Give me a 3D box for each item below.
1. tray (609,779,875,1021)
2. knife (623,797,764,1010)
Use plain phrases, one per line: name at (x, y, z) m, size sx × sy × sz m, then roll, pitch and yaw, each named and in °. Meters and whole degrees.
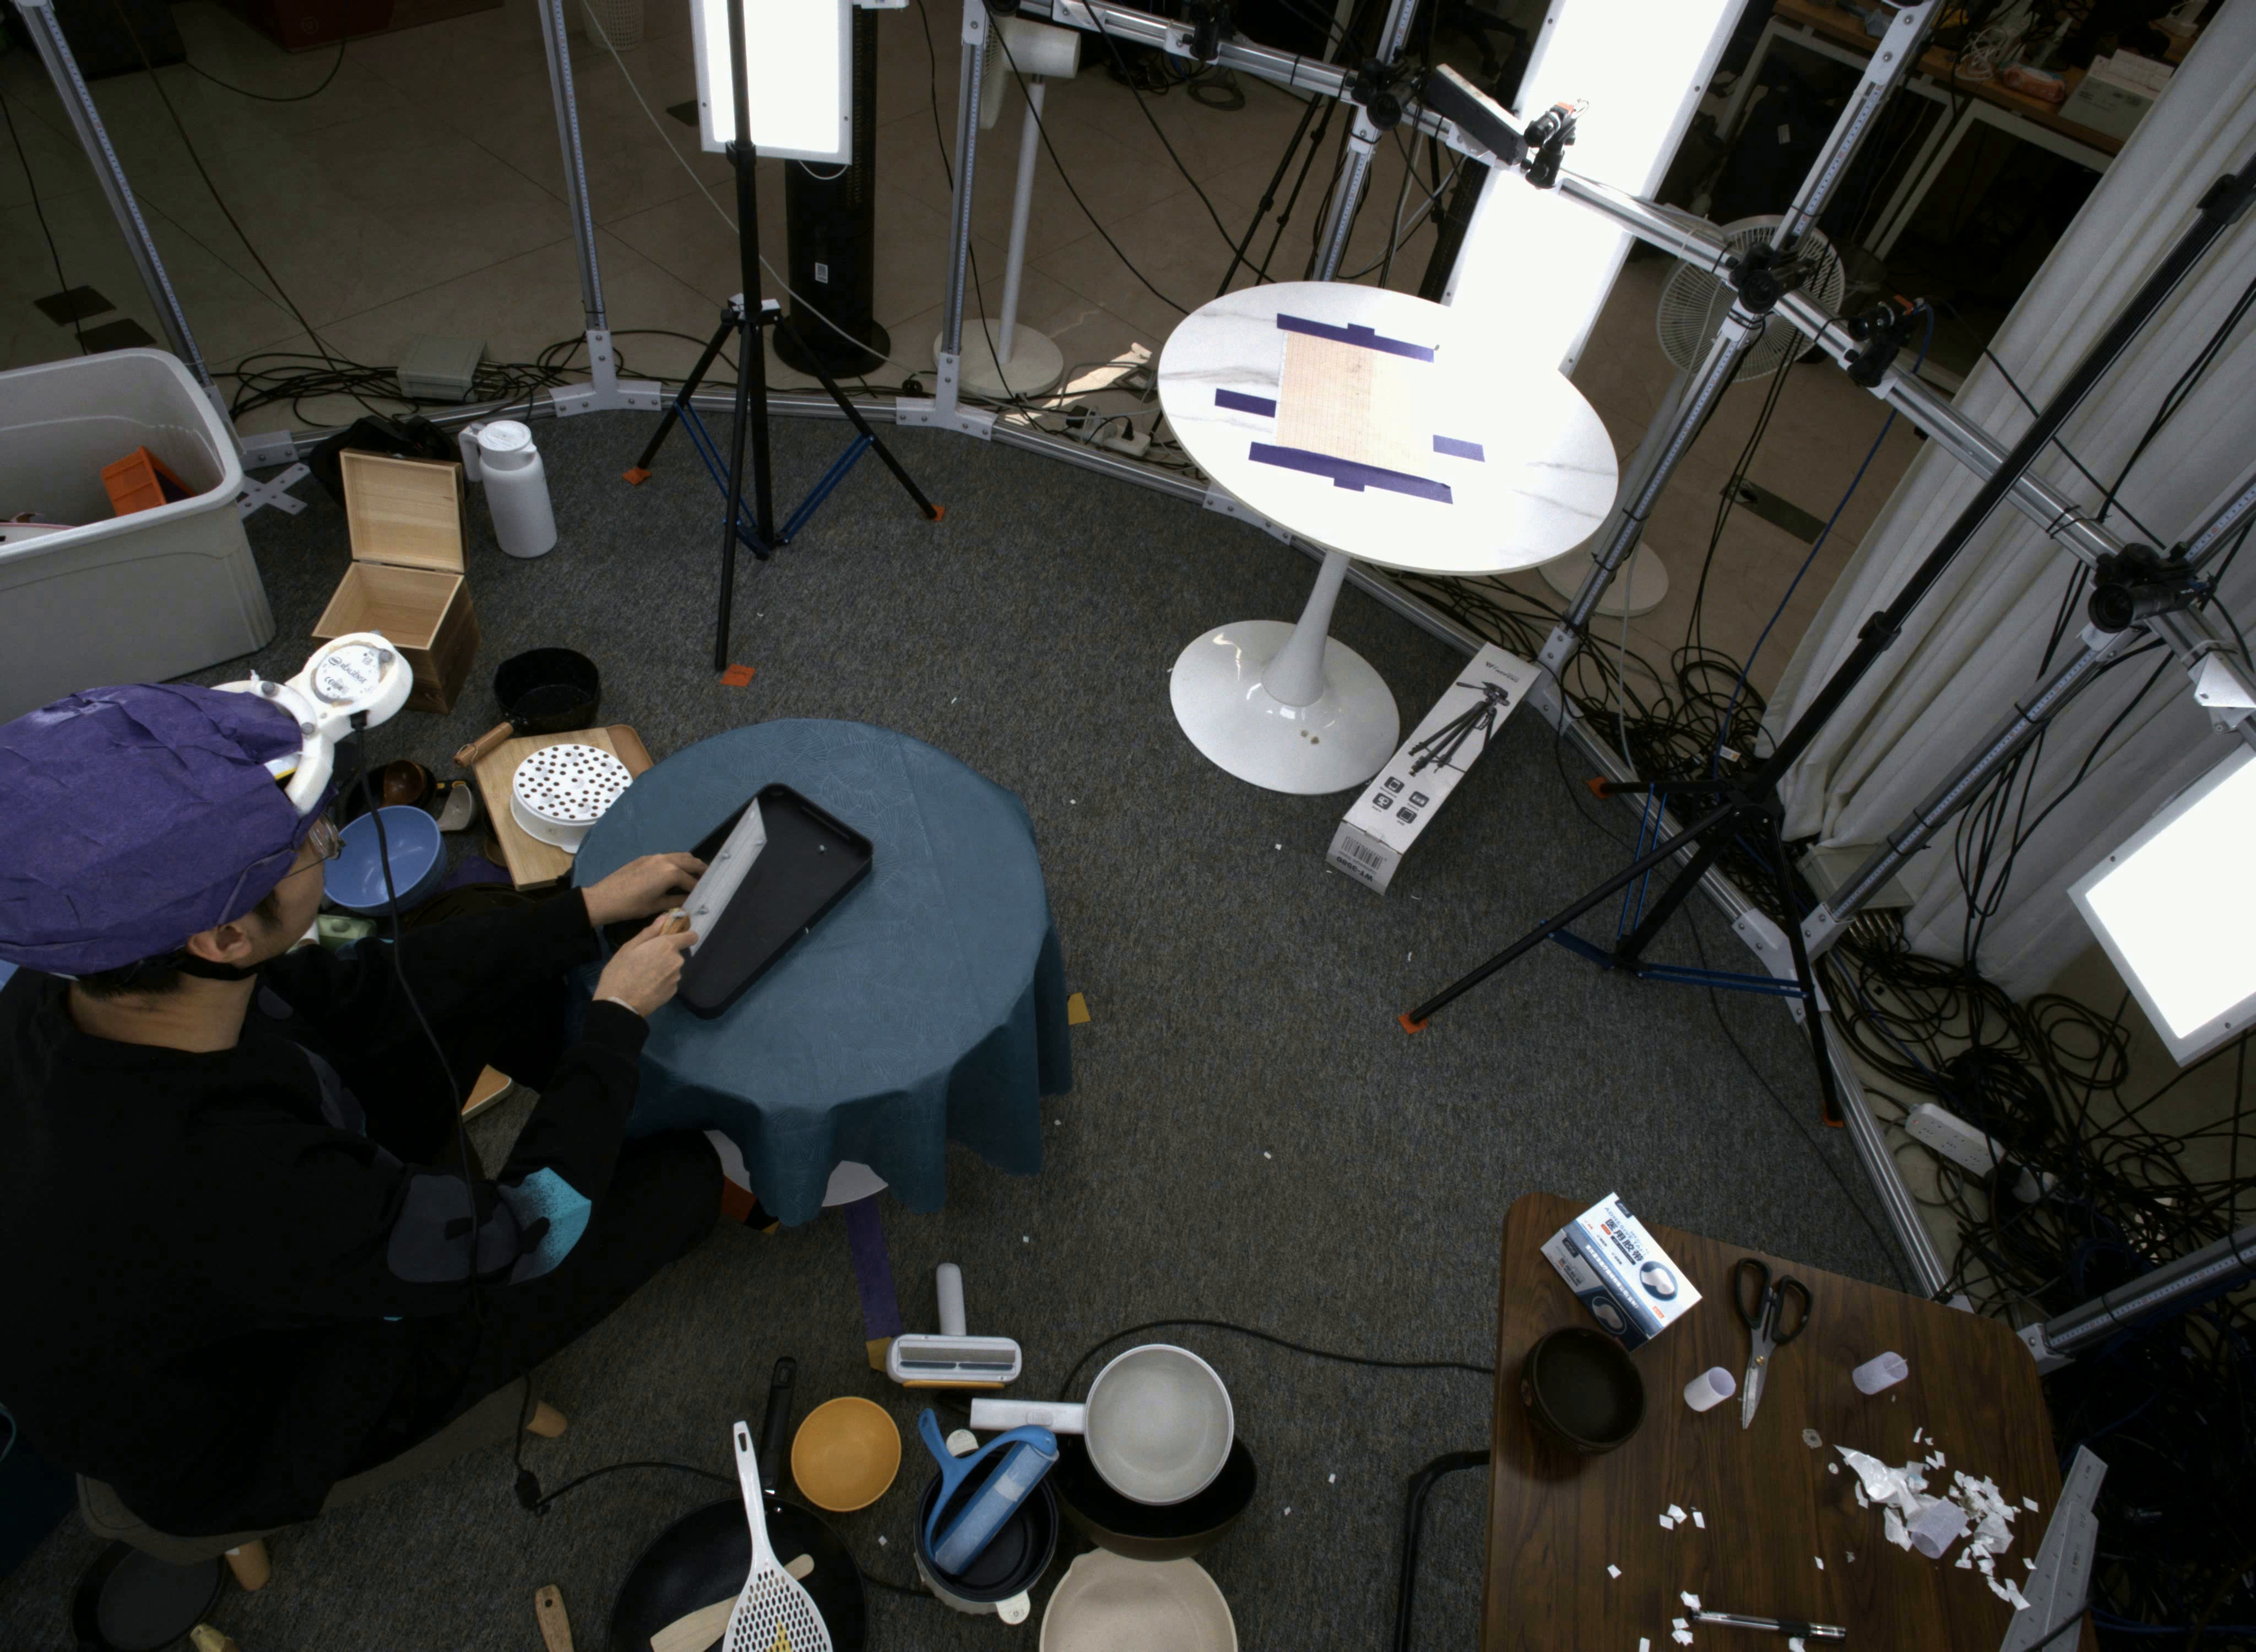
tray at (-0.477, 0.083, 1.614) m, size 0.181 × 0.038 × 0.317 m, roll 31°, pitch 53°, yaw 9°
knife at (-0.504, 0.097, 1.517) m, size 0.020 × 0.095 × 0.303 m, roll 16°, pitch 52°, yaw 9°
